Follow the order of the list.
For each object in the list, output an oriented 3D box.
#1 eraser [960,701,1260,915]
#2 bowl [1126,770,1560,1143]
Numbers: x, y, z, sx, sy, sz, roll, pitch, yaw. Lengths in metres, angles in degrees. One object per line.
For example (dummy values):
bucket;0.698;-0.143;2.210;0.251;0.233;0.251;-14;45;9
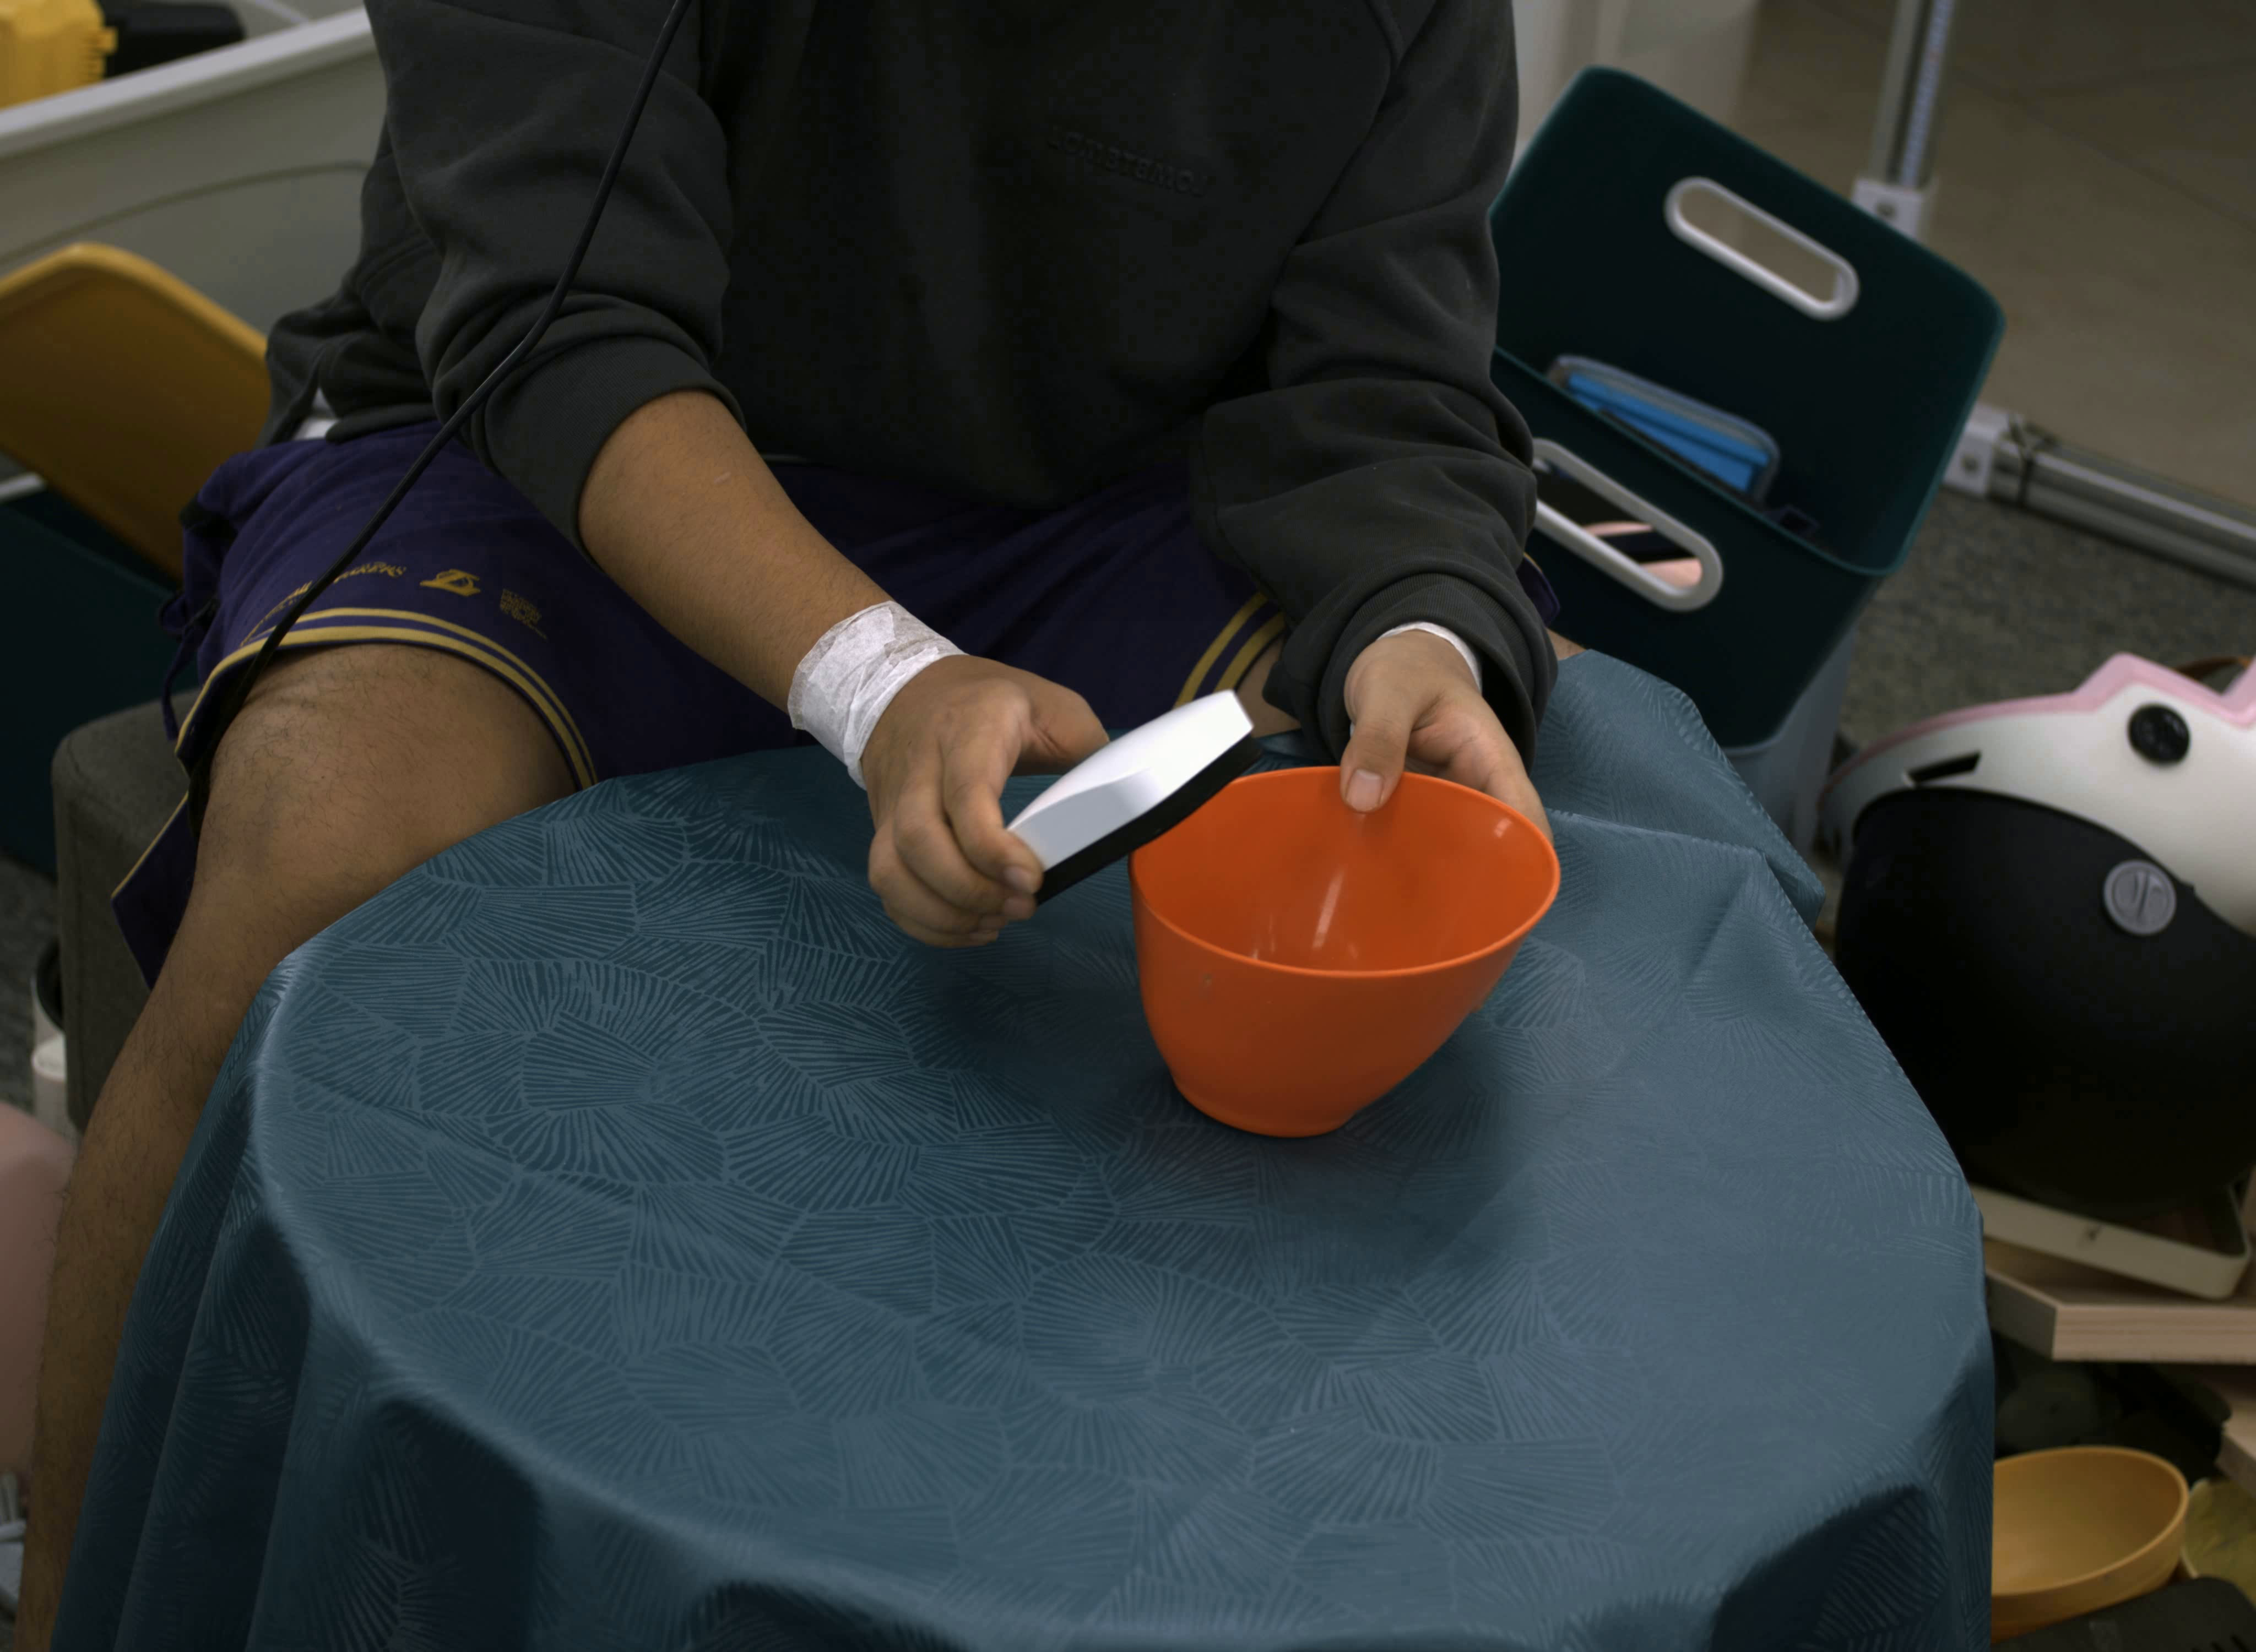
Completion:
eraser;-0.007;-0.008;1.826;0.063;0.034;0.131;-36;5;-31
bowl;0.067;0.051;1.847;0.147;0.104;0.149;8;28;-5
